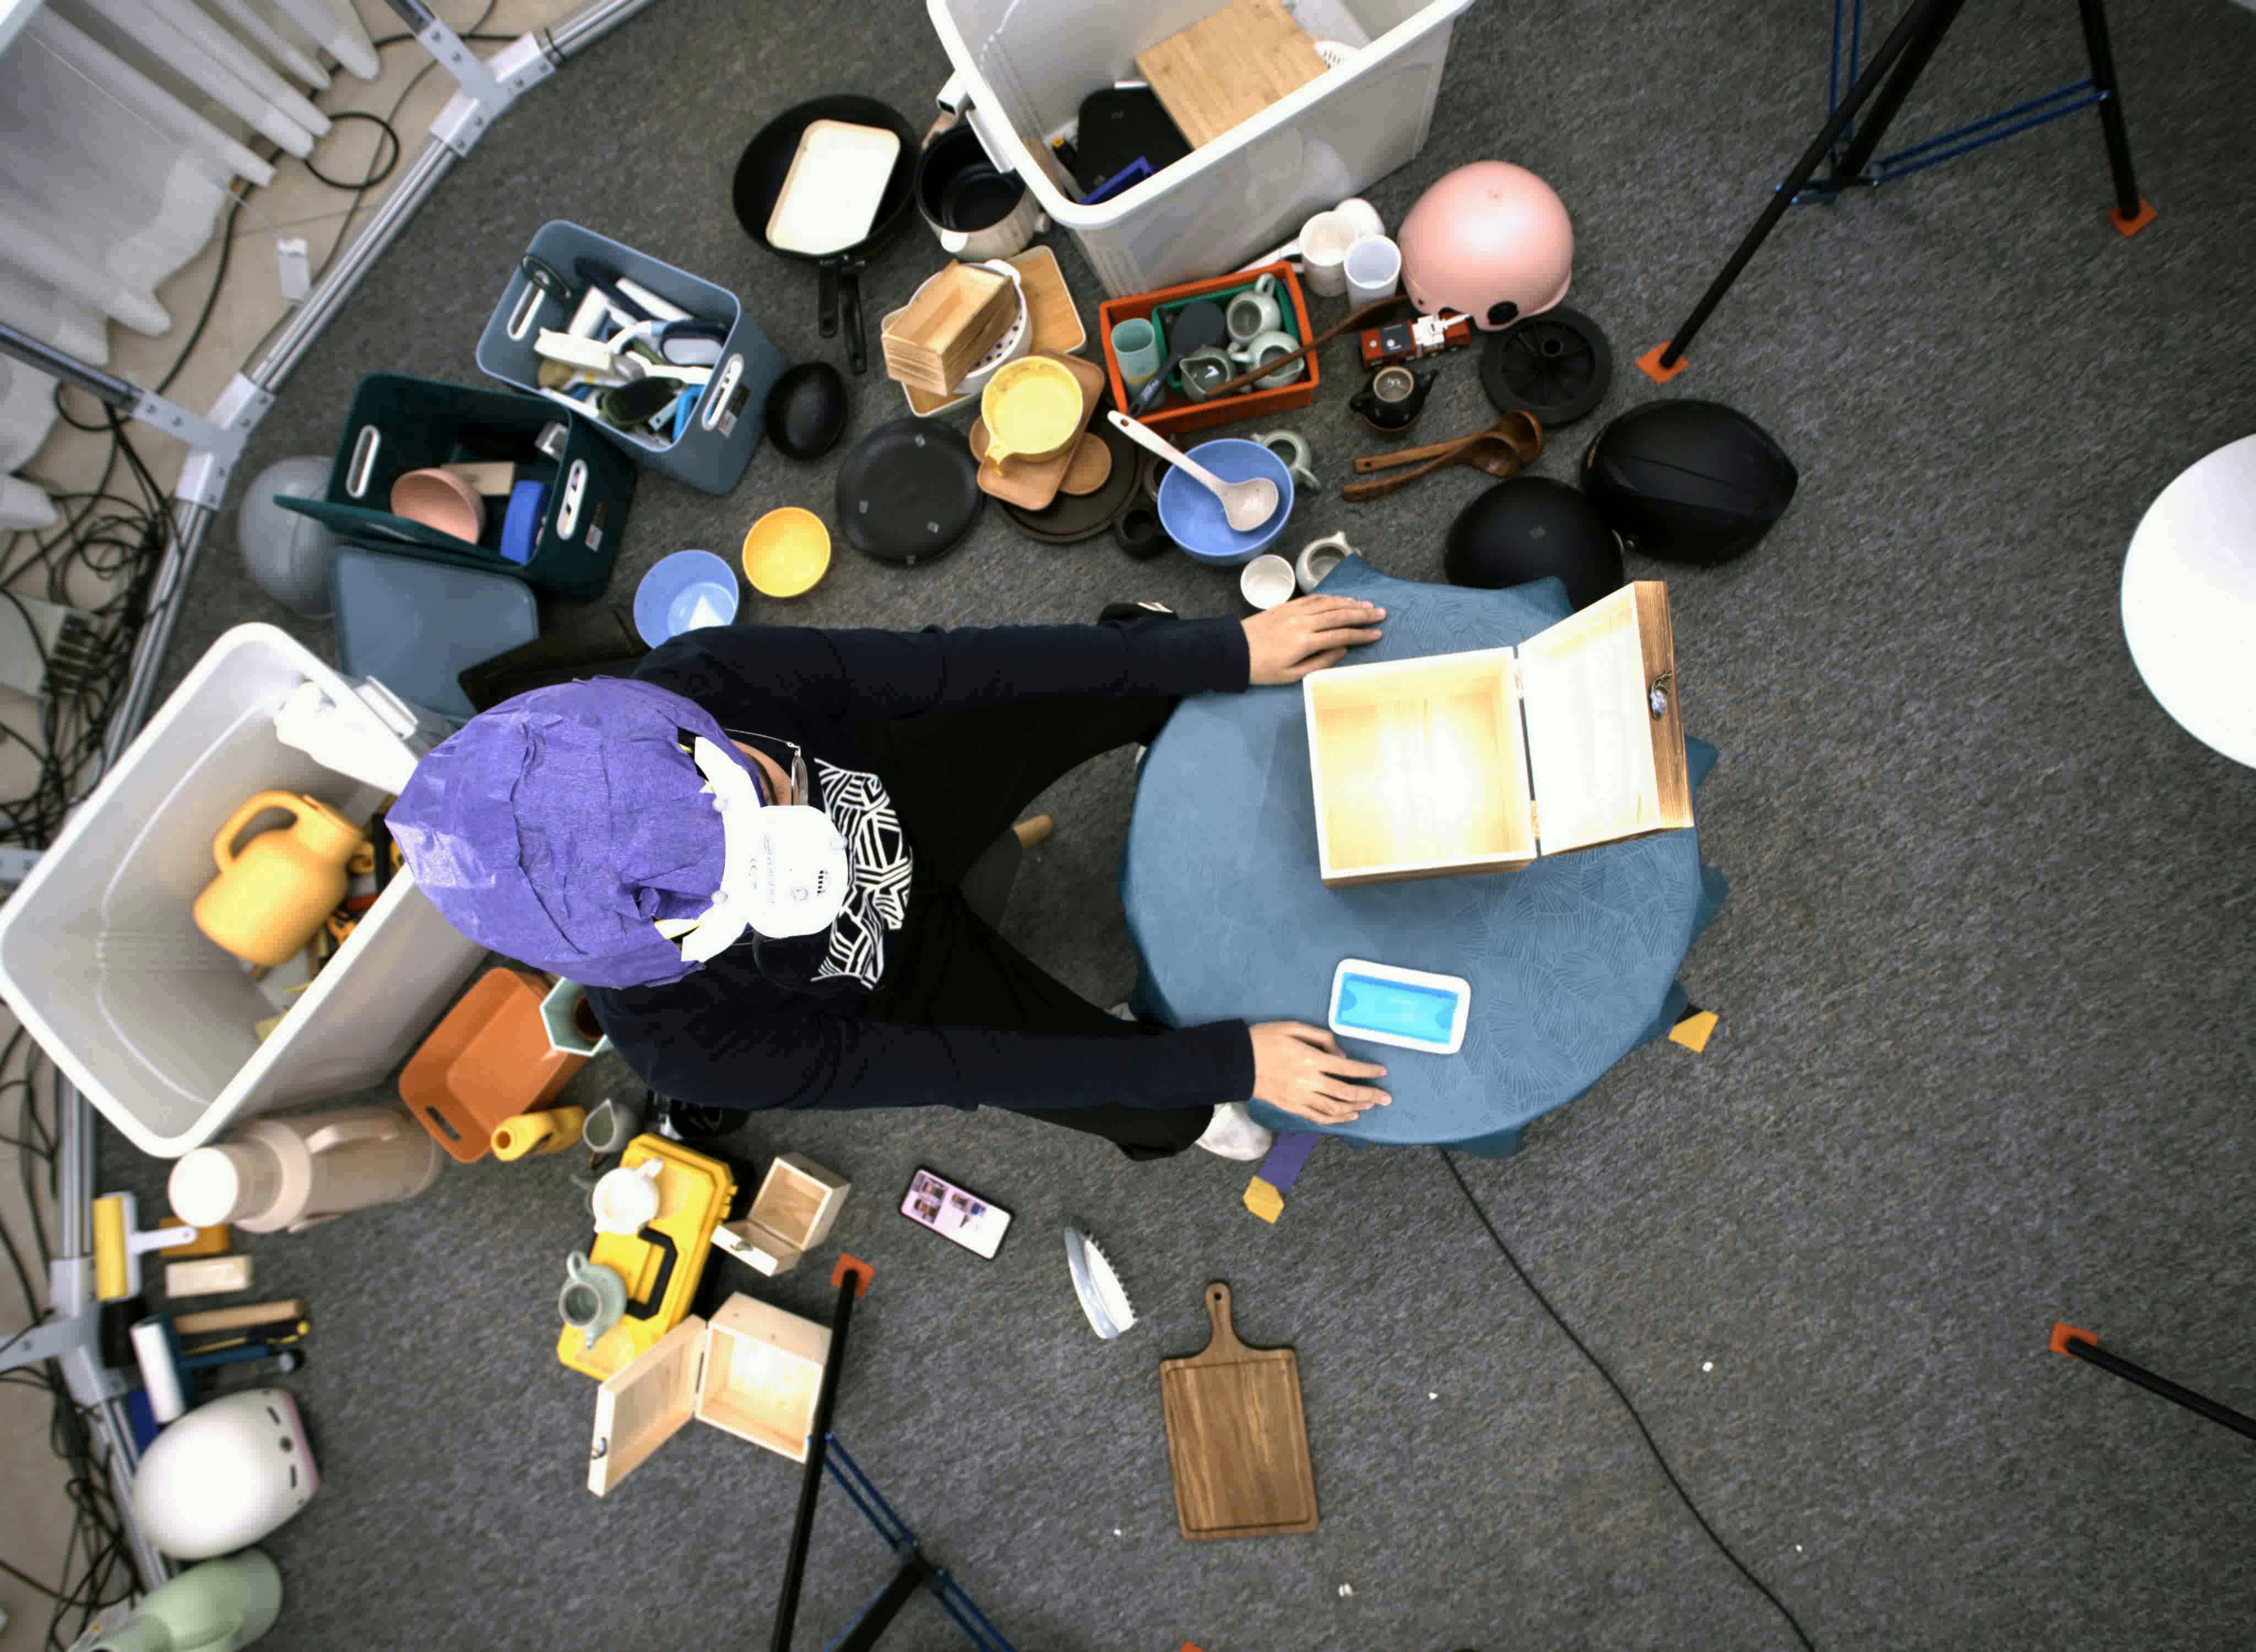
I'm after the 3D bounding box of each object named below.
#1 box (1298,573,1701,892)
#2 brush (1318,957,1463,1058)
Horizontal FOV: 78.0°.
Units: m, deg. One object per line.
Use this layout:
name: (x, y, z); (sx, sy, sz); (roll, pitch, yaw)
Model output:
box: (0.320, -0.070, 1.273); (0.323, 0.376, 0.207); (-6, 83, 10)
brush: (0.271, 0.184, 1.422); (0.144, 0.056, 0.083); (12, 85, 9)
